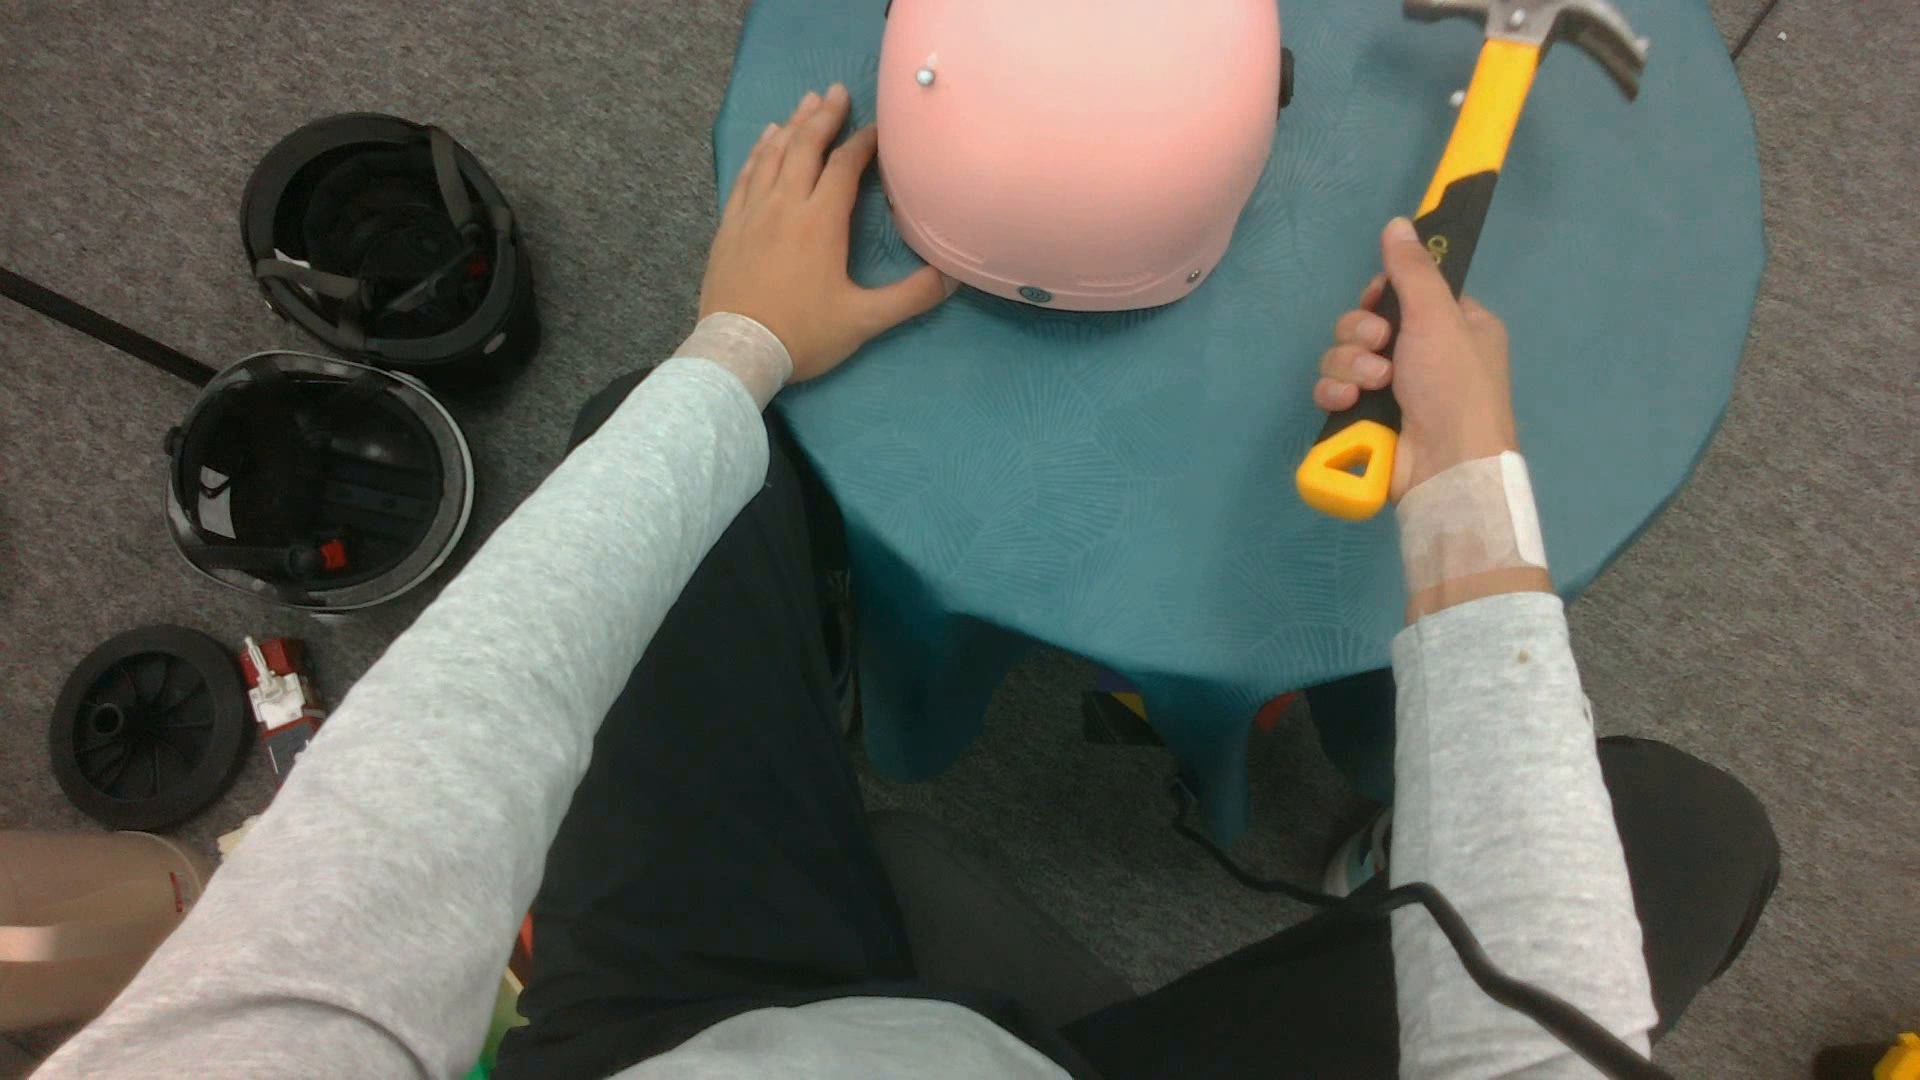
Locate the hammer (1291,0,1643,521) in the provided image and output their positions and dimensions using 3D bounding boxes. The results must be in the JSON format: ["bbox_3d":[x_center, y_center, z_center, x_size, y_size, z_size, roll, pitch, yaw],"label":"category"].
[{"bbox_3d":[0.242,-0.162,0.695,0.131,0.032,0.339,18,73,24],"label":"hammer"}]

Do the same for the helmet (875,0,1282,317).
[{"bbox_3d":[0.064,-0.262,0.746,0.234,0.158,0.266,12,73,5],"label":"helmet"}]
